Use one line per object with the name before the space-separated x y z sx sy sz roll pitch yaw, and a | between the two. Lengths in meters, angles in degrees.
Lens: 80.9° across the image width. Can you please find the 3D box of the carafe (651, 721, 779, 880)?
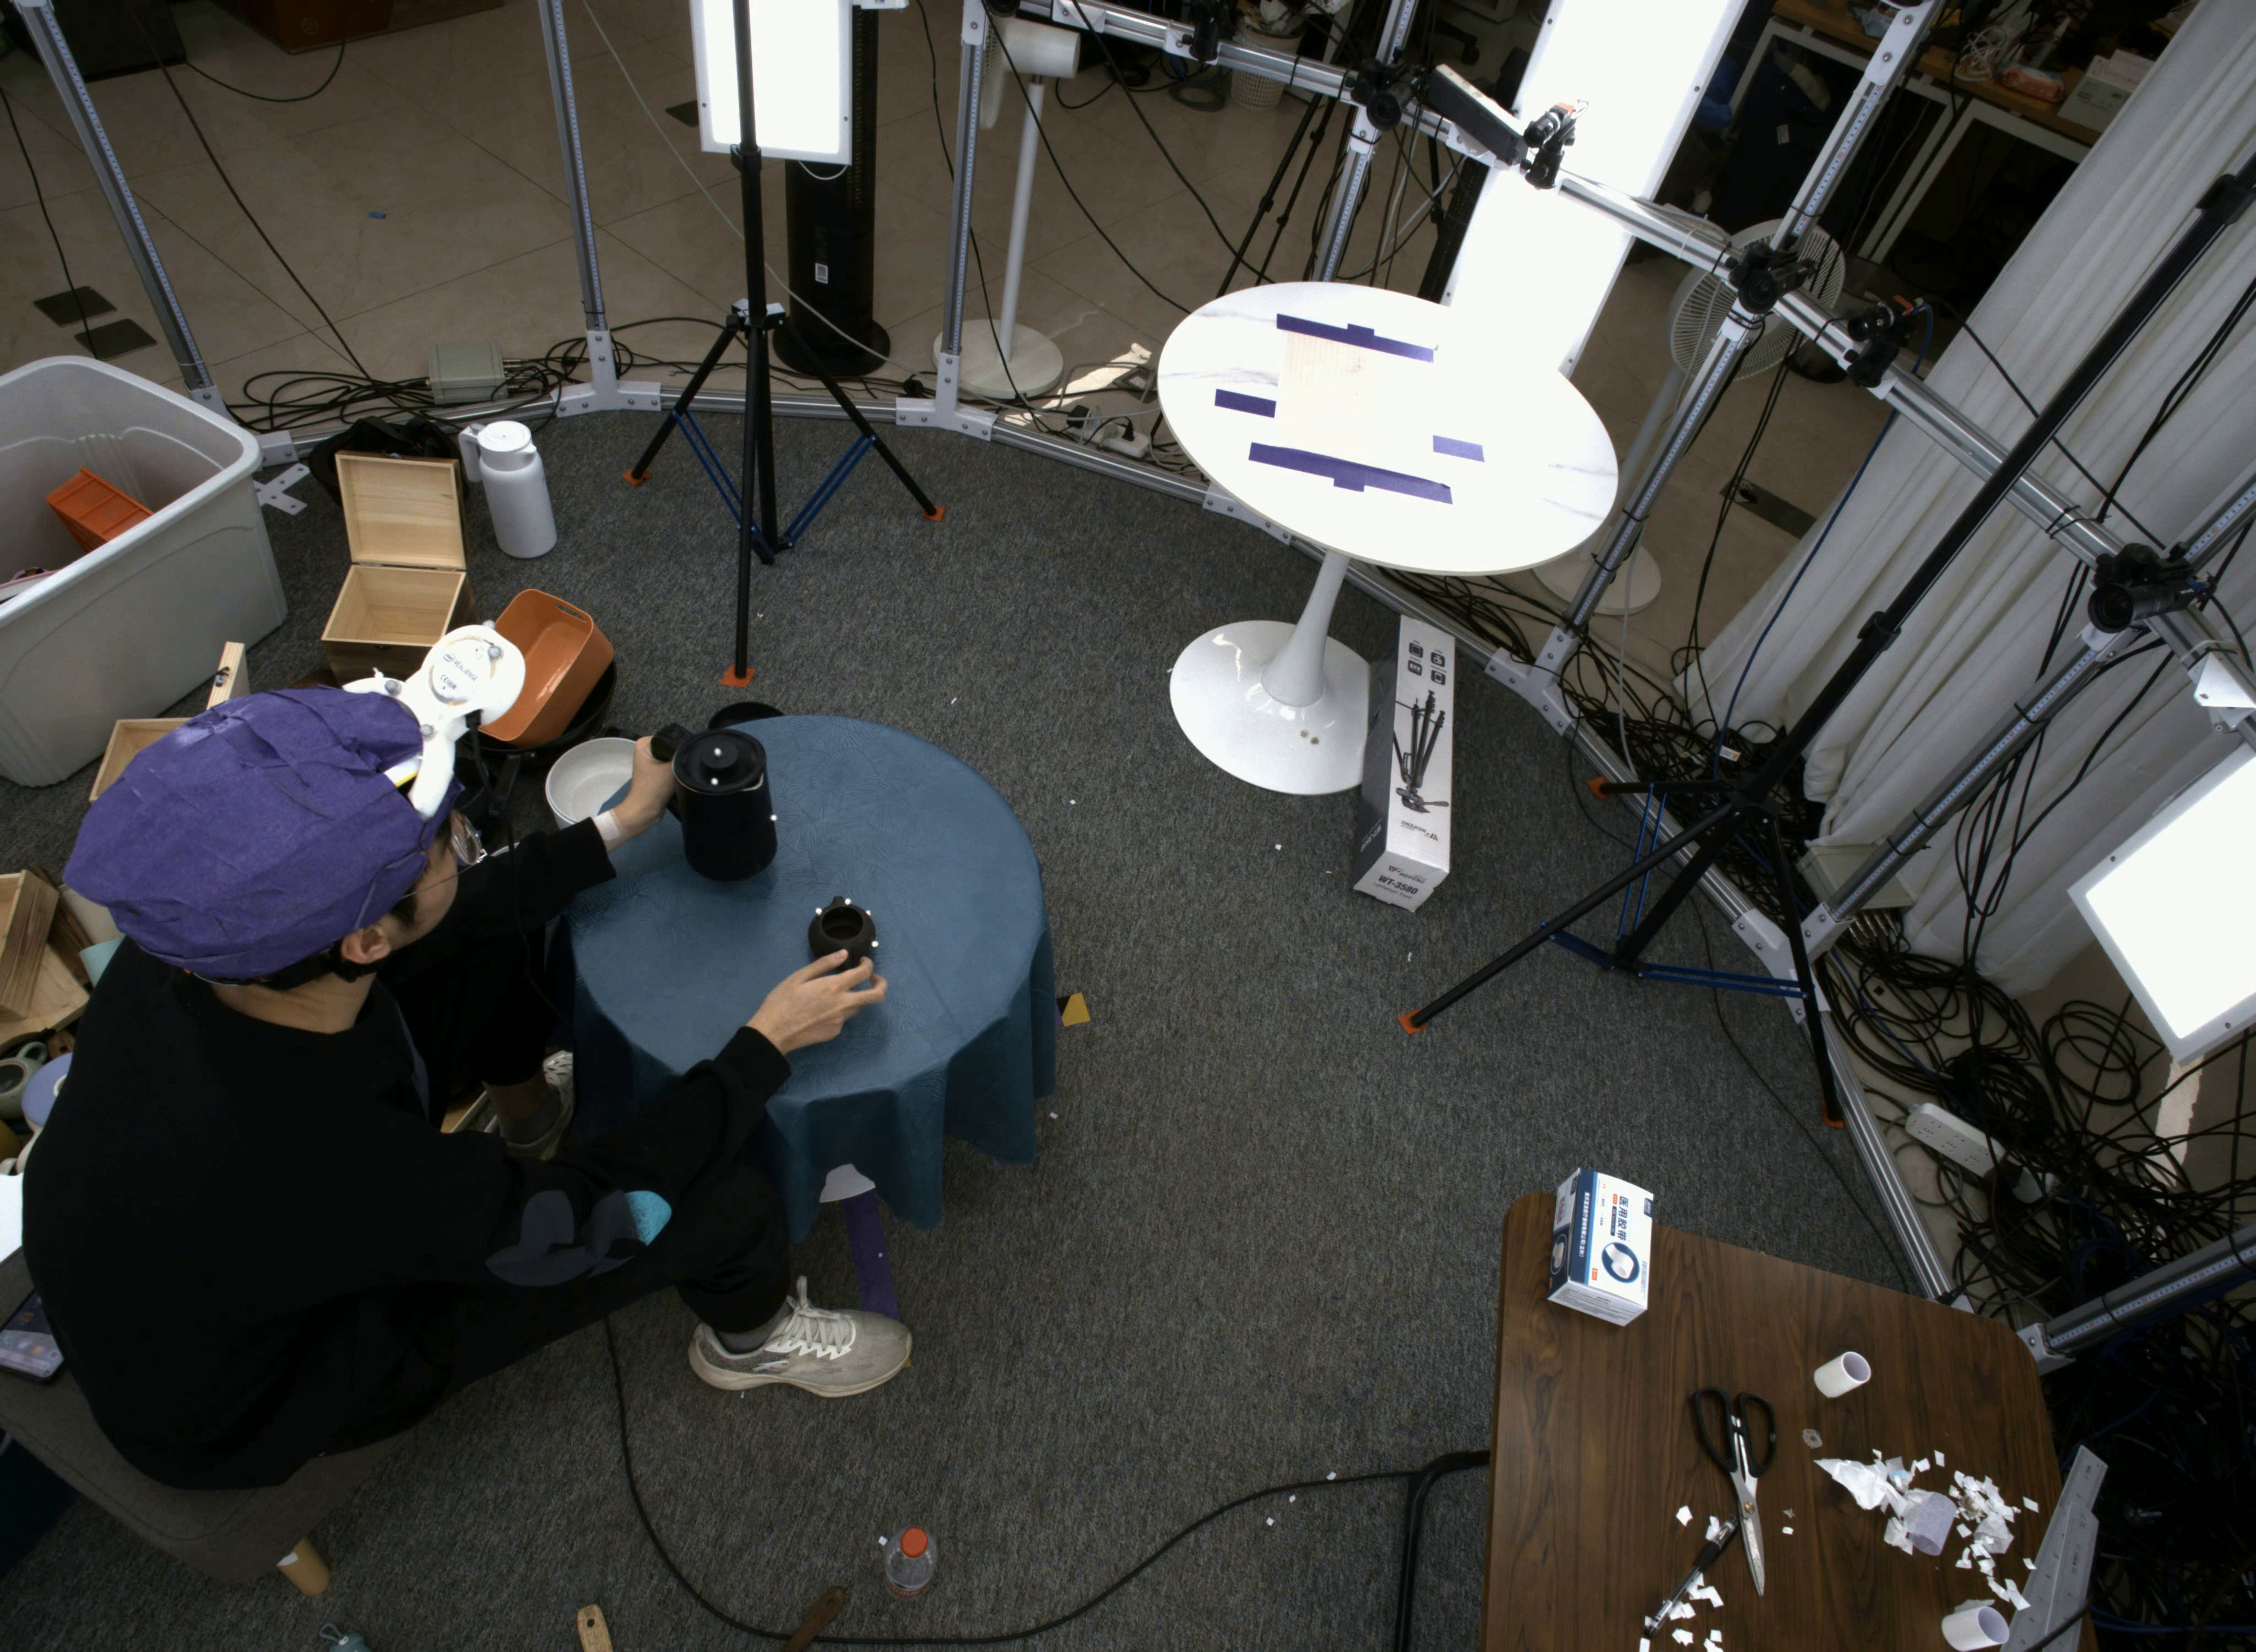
carafe | -0.511 -0.042 1.580 0.168 0.177 0.114 29 53 13

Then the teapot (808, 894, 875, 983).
teapot | -0.355 0.140 1.612 0.083 0.054 0.111 -2 51 -14
